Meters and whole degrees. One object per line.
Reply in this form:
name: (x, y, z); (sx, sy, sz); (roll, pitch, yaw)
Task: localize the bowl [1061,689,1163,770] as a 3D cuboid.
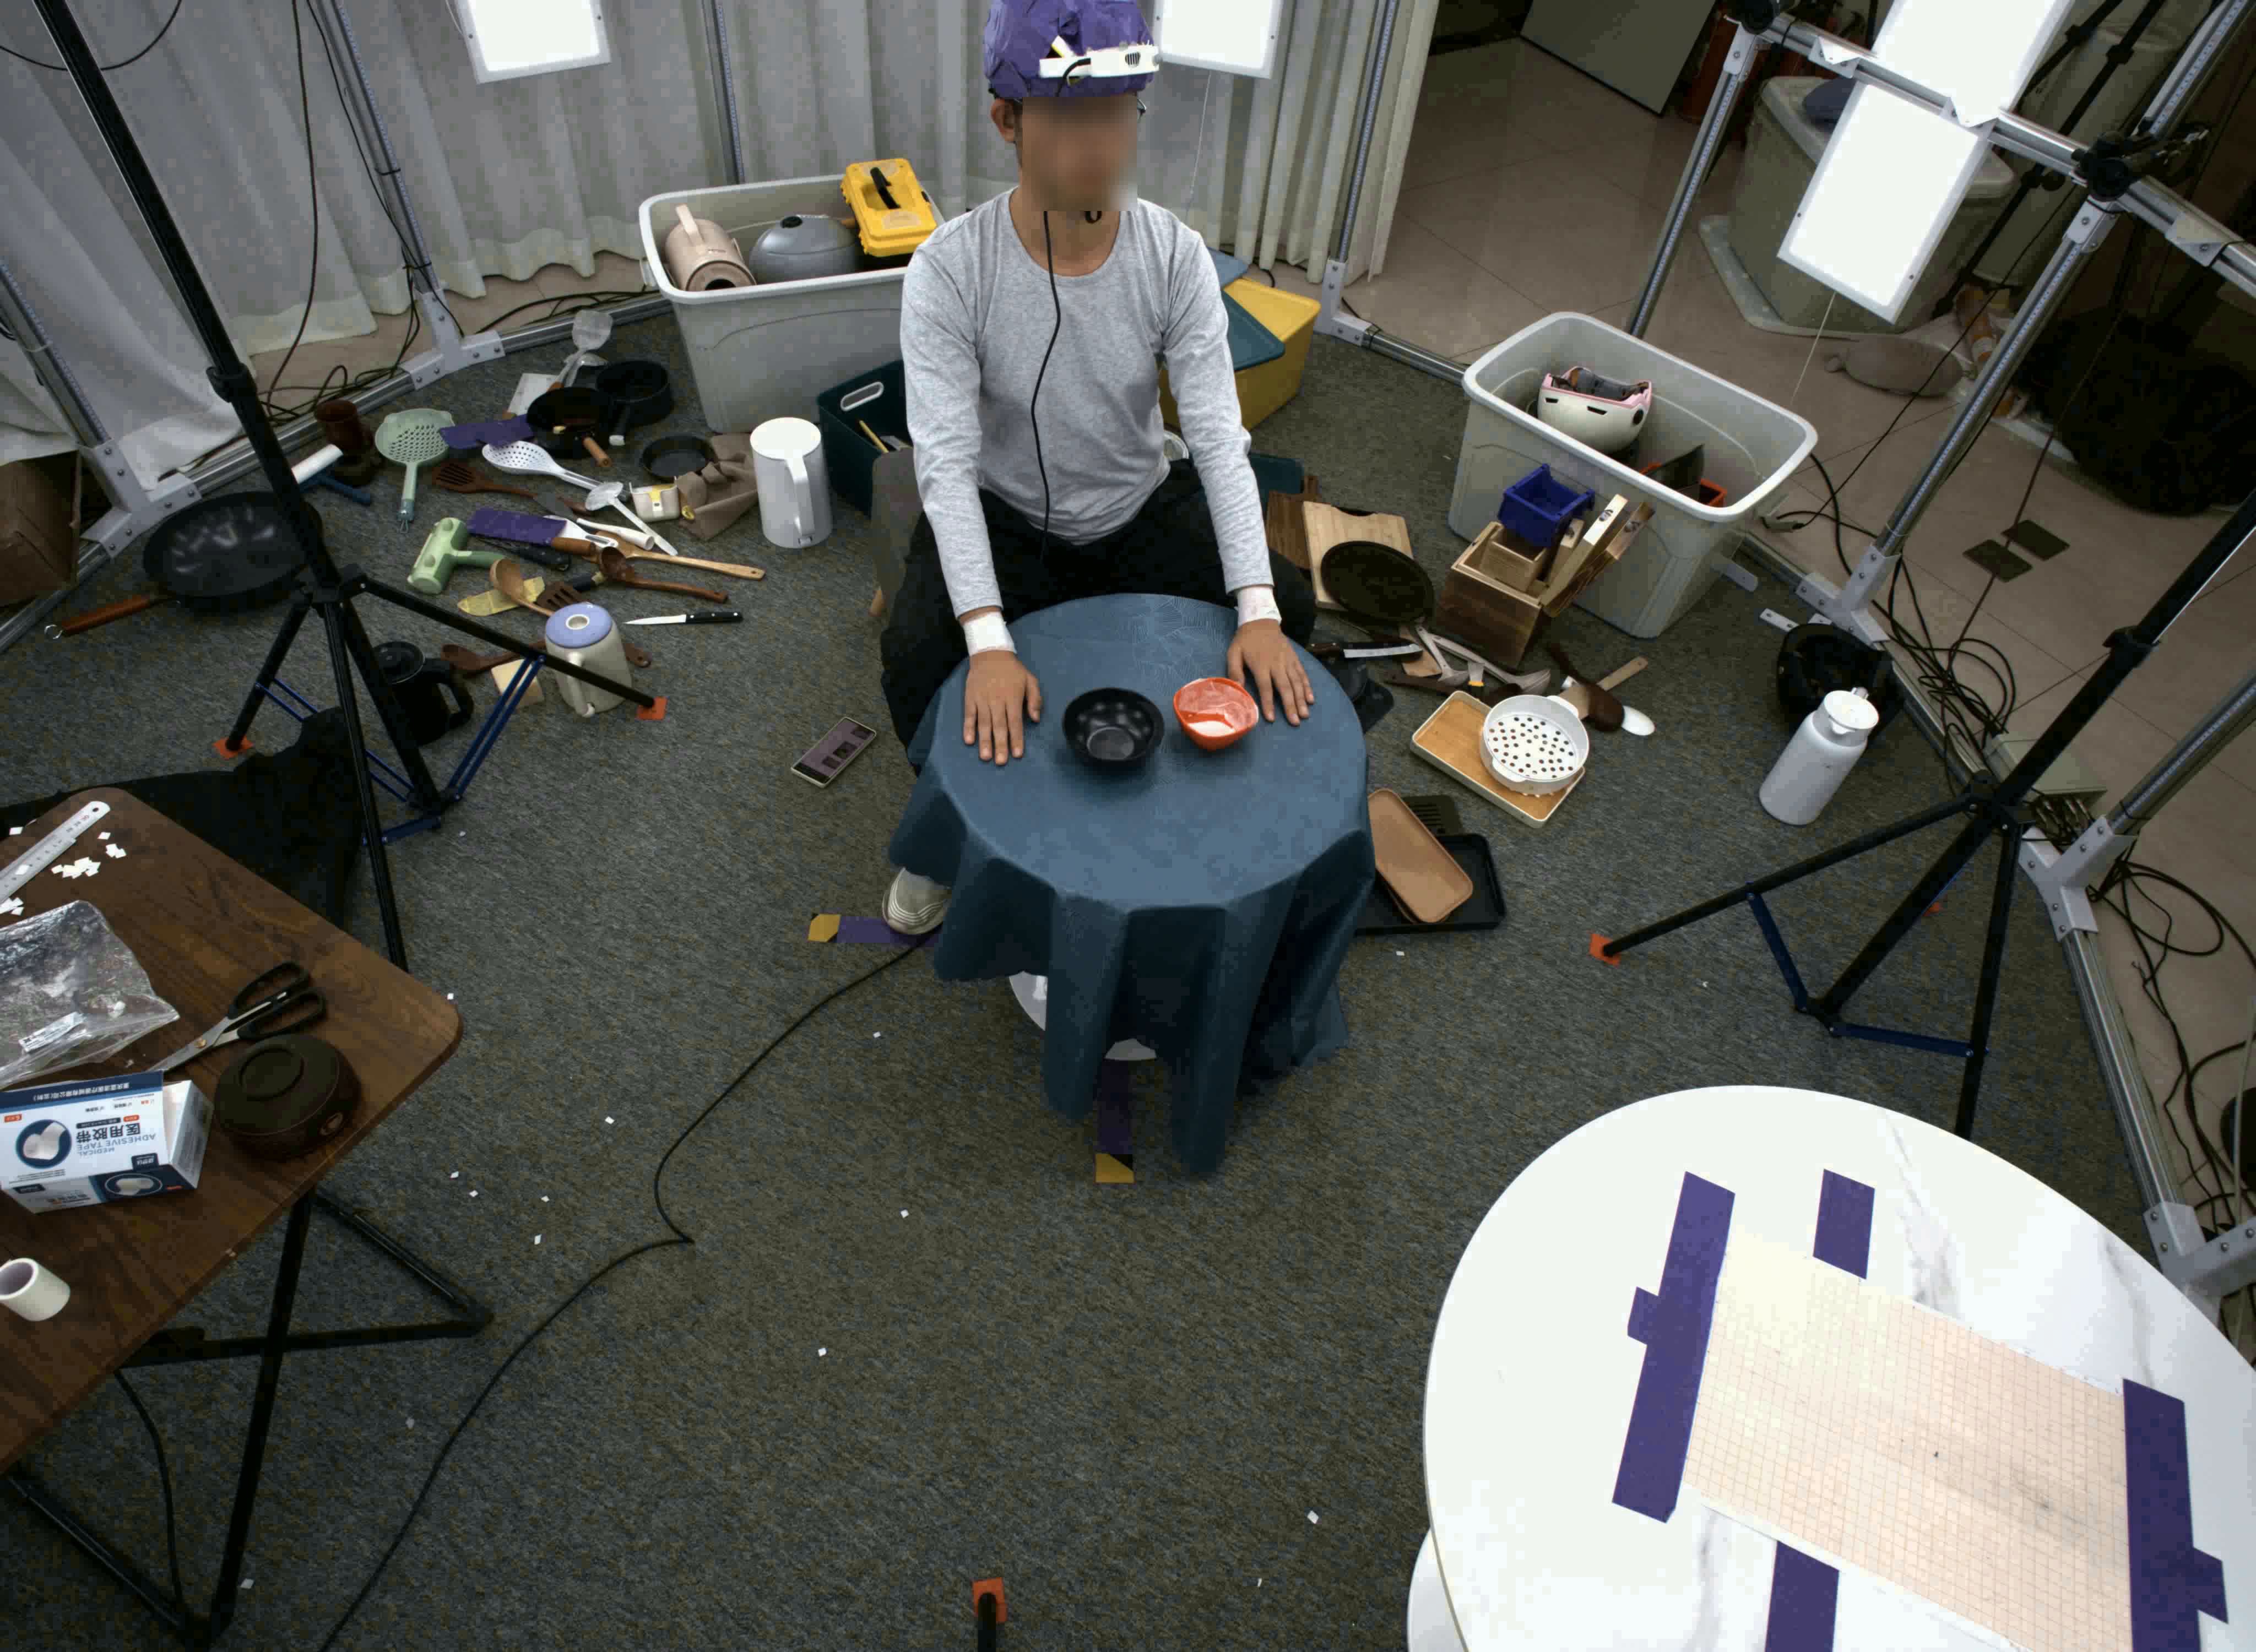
bowl: (-0.022, -0.122, 1.742); (0.140, 0.048, 0.143); (2, 46, -2)

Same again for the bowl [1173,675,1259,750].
bowl: (0.119, -0.150, 1.771); (0.119, 0.050, 0.122); (2, 51, -2)
